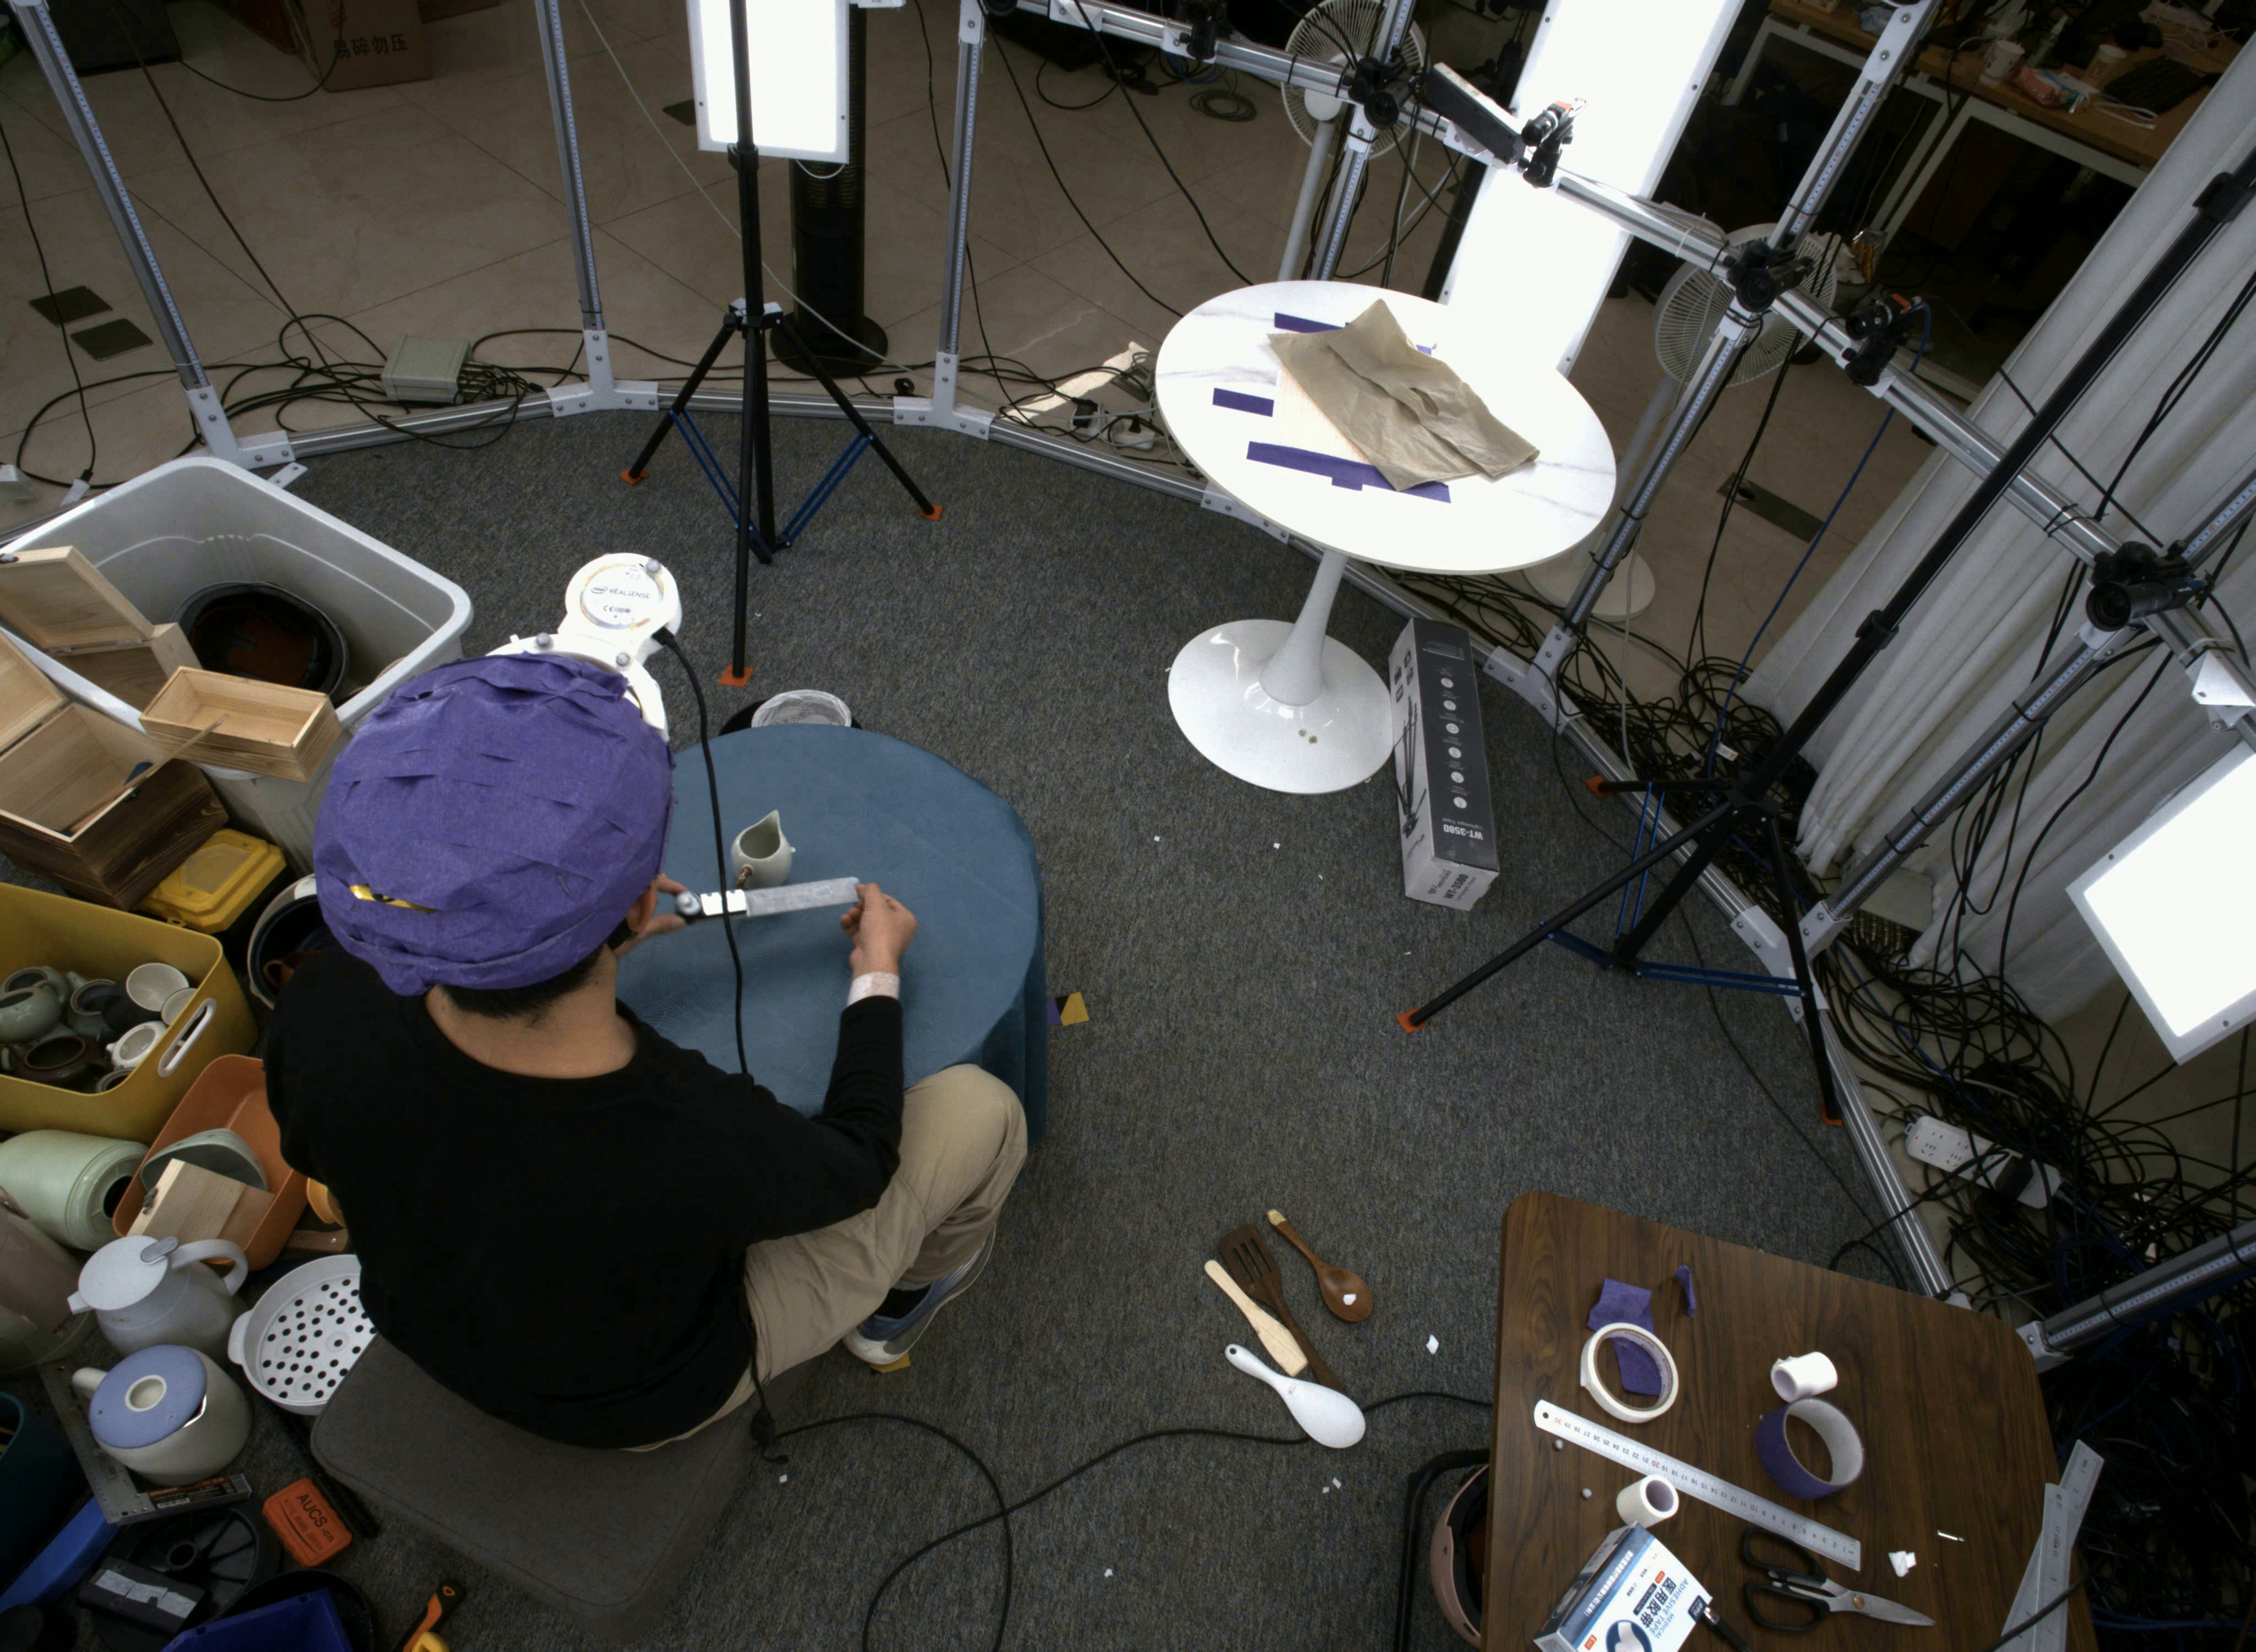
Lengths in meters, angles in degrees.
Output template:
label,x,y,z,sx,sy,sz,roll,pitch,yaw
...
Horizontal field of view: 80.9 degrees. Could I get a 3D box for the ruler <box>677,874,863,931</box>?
label,x,y,z,sx,sy,sz,roll,pitch,yaw
ruler,-0.423,0.085,1.534,0.220,0.024,0.038,-9,68,-26

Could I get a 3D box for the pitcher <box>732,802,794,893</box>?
label,x,y,z,sx,sy,sz,roll,pitch,yaw
pitcher,-0.461,0.040,1.623,0.075,0.090,0.118,18,50,6
